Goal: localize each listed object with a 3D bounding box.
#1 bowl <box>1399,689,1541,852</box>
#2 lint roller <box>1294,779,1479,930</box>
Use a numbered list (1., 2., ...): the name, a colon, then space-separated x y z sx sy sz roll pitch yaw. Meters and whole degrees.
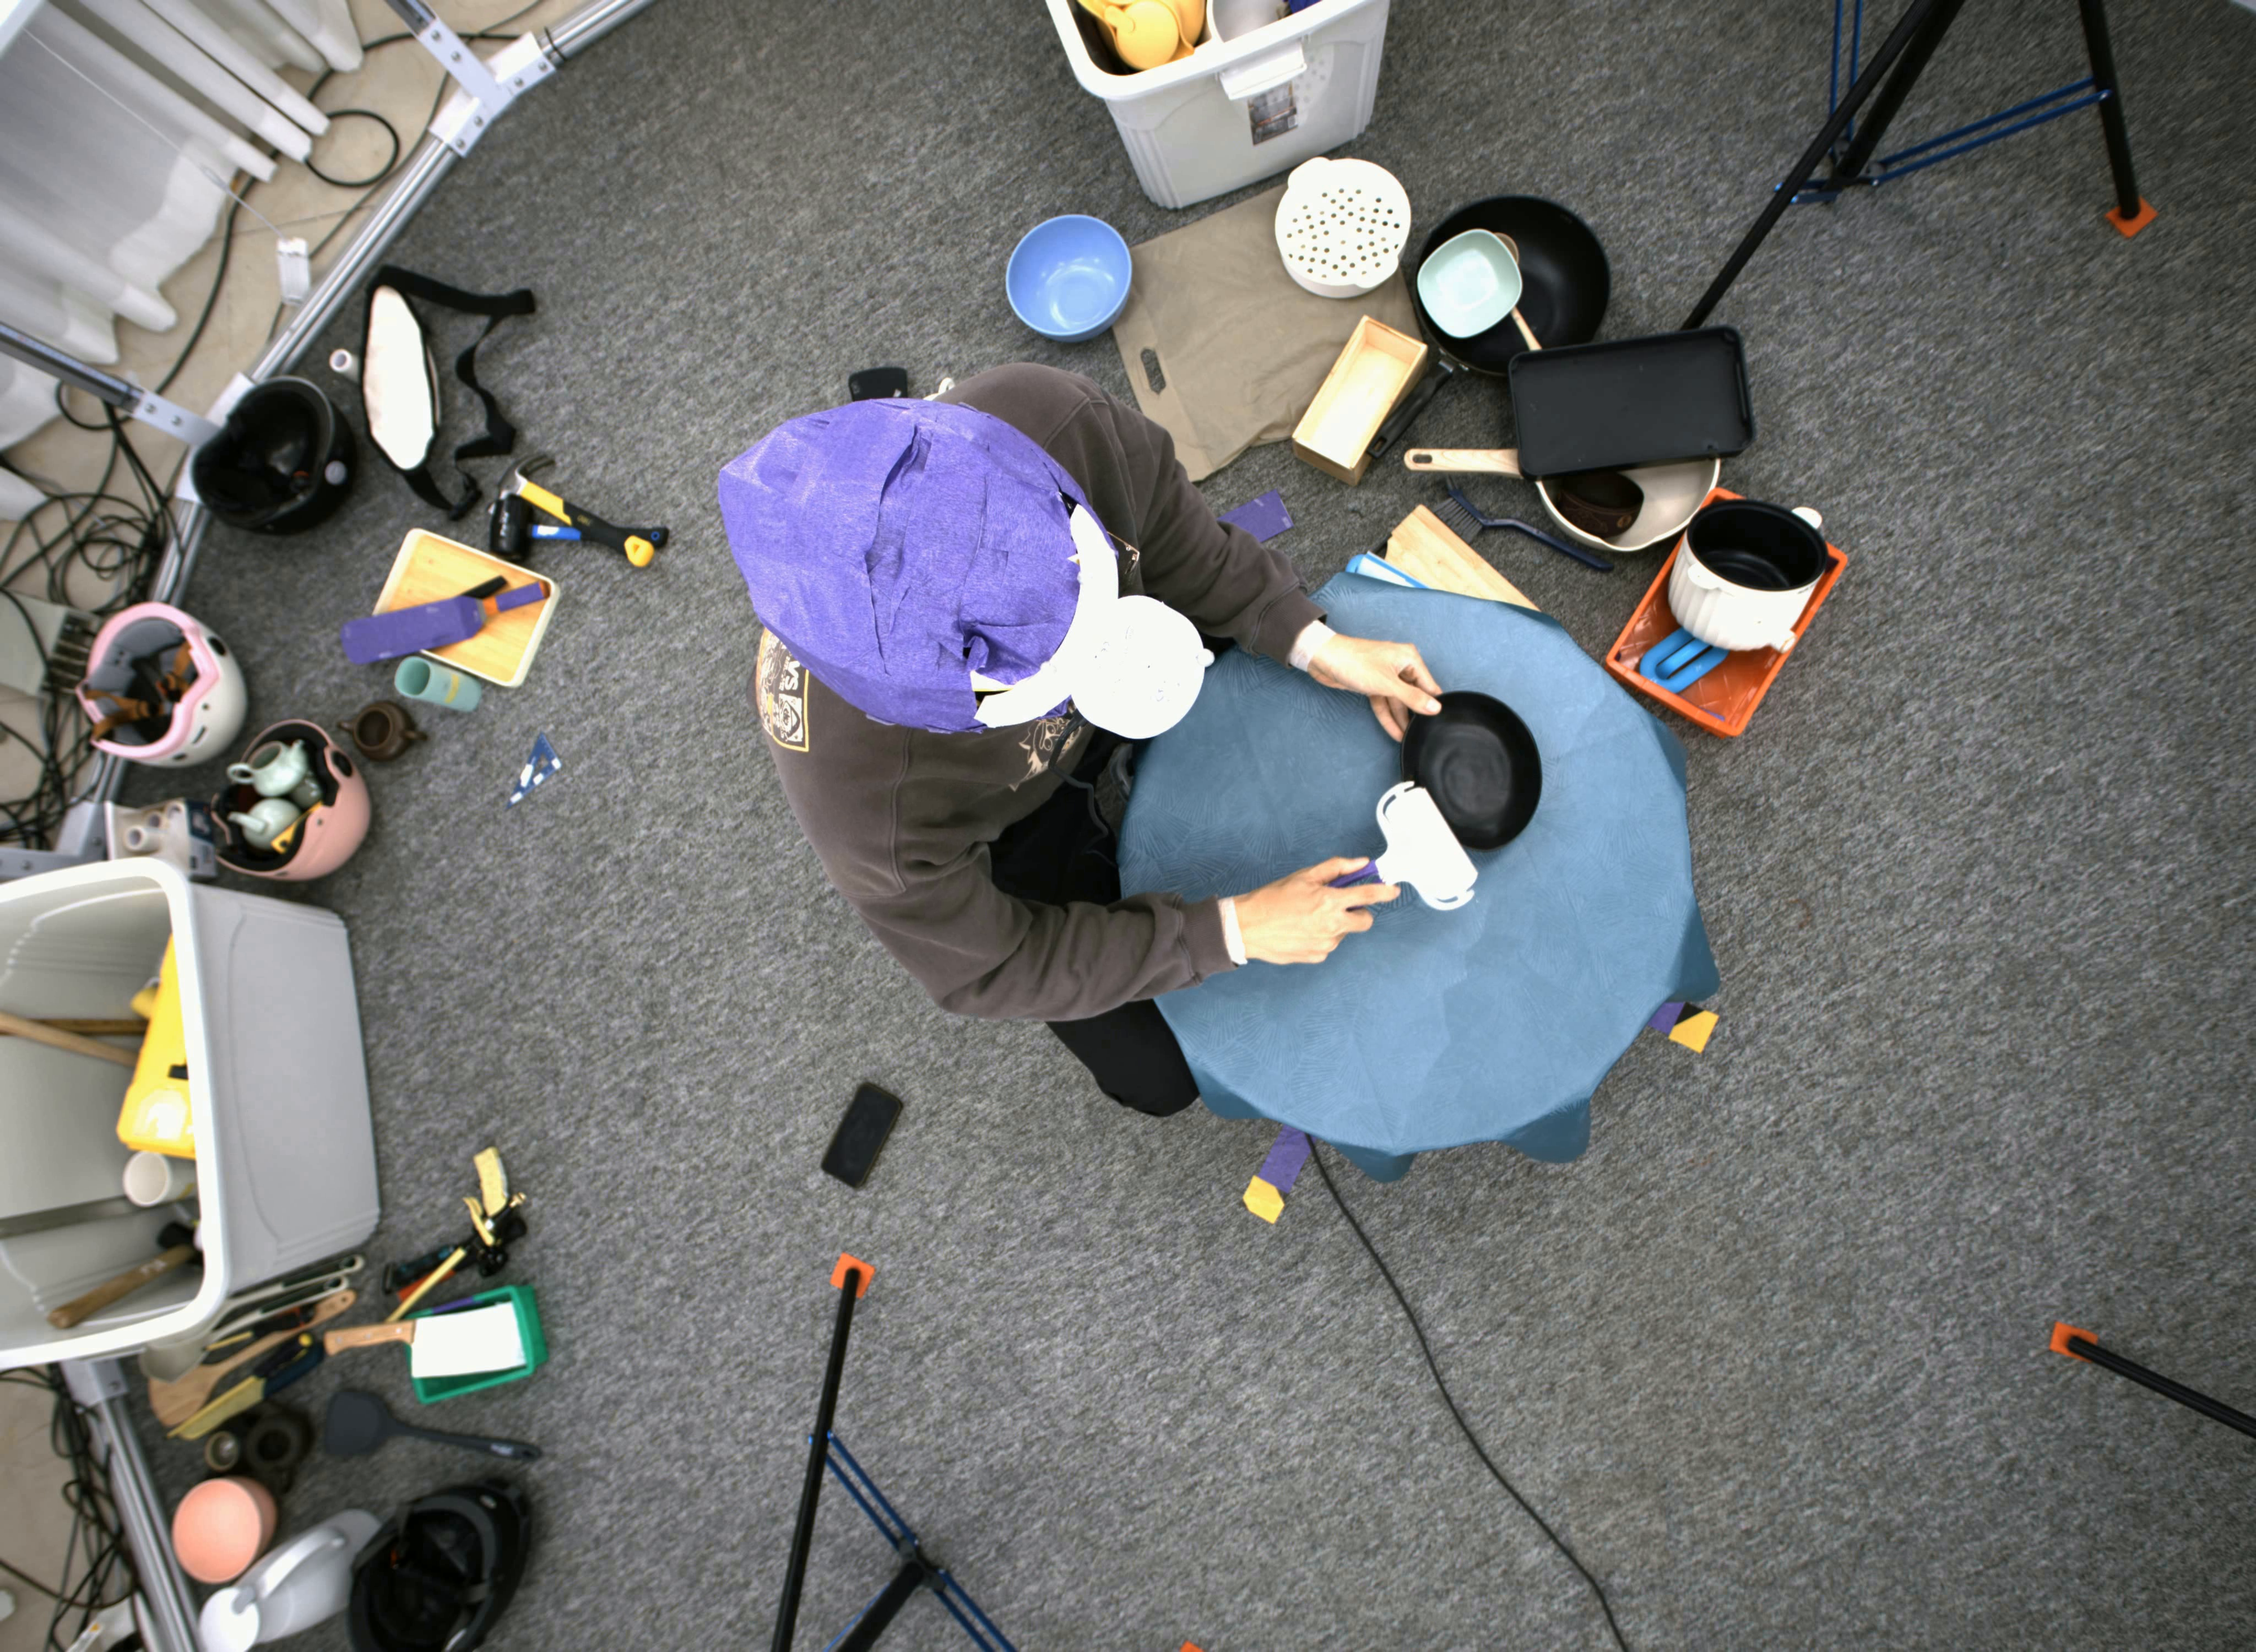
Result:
1. bowl: 0.352 -0.058 1.416 0.138 0.066 0.169 -22 85 9
2. lint roller: 0.240 0.044 1.341 0.180 0.050 0.132 -29 88 -8
